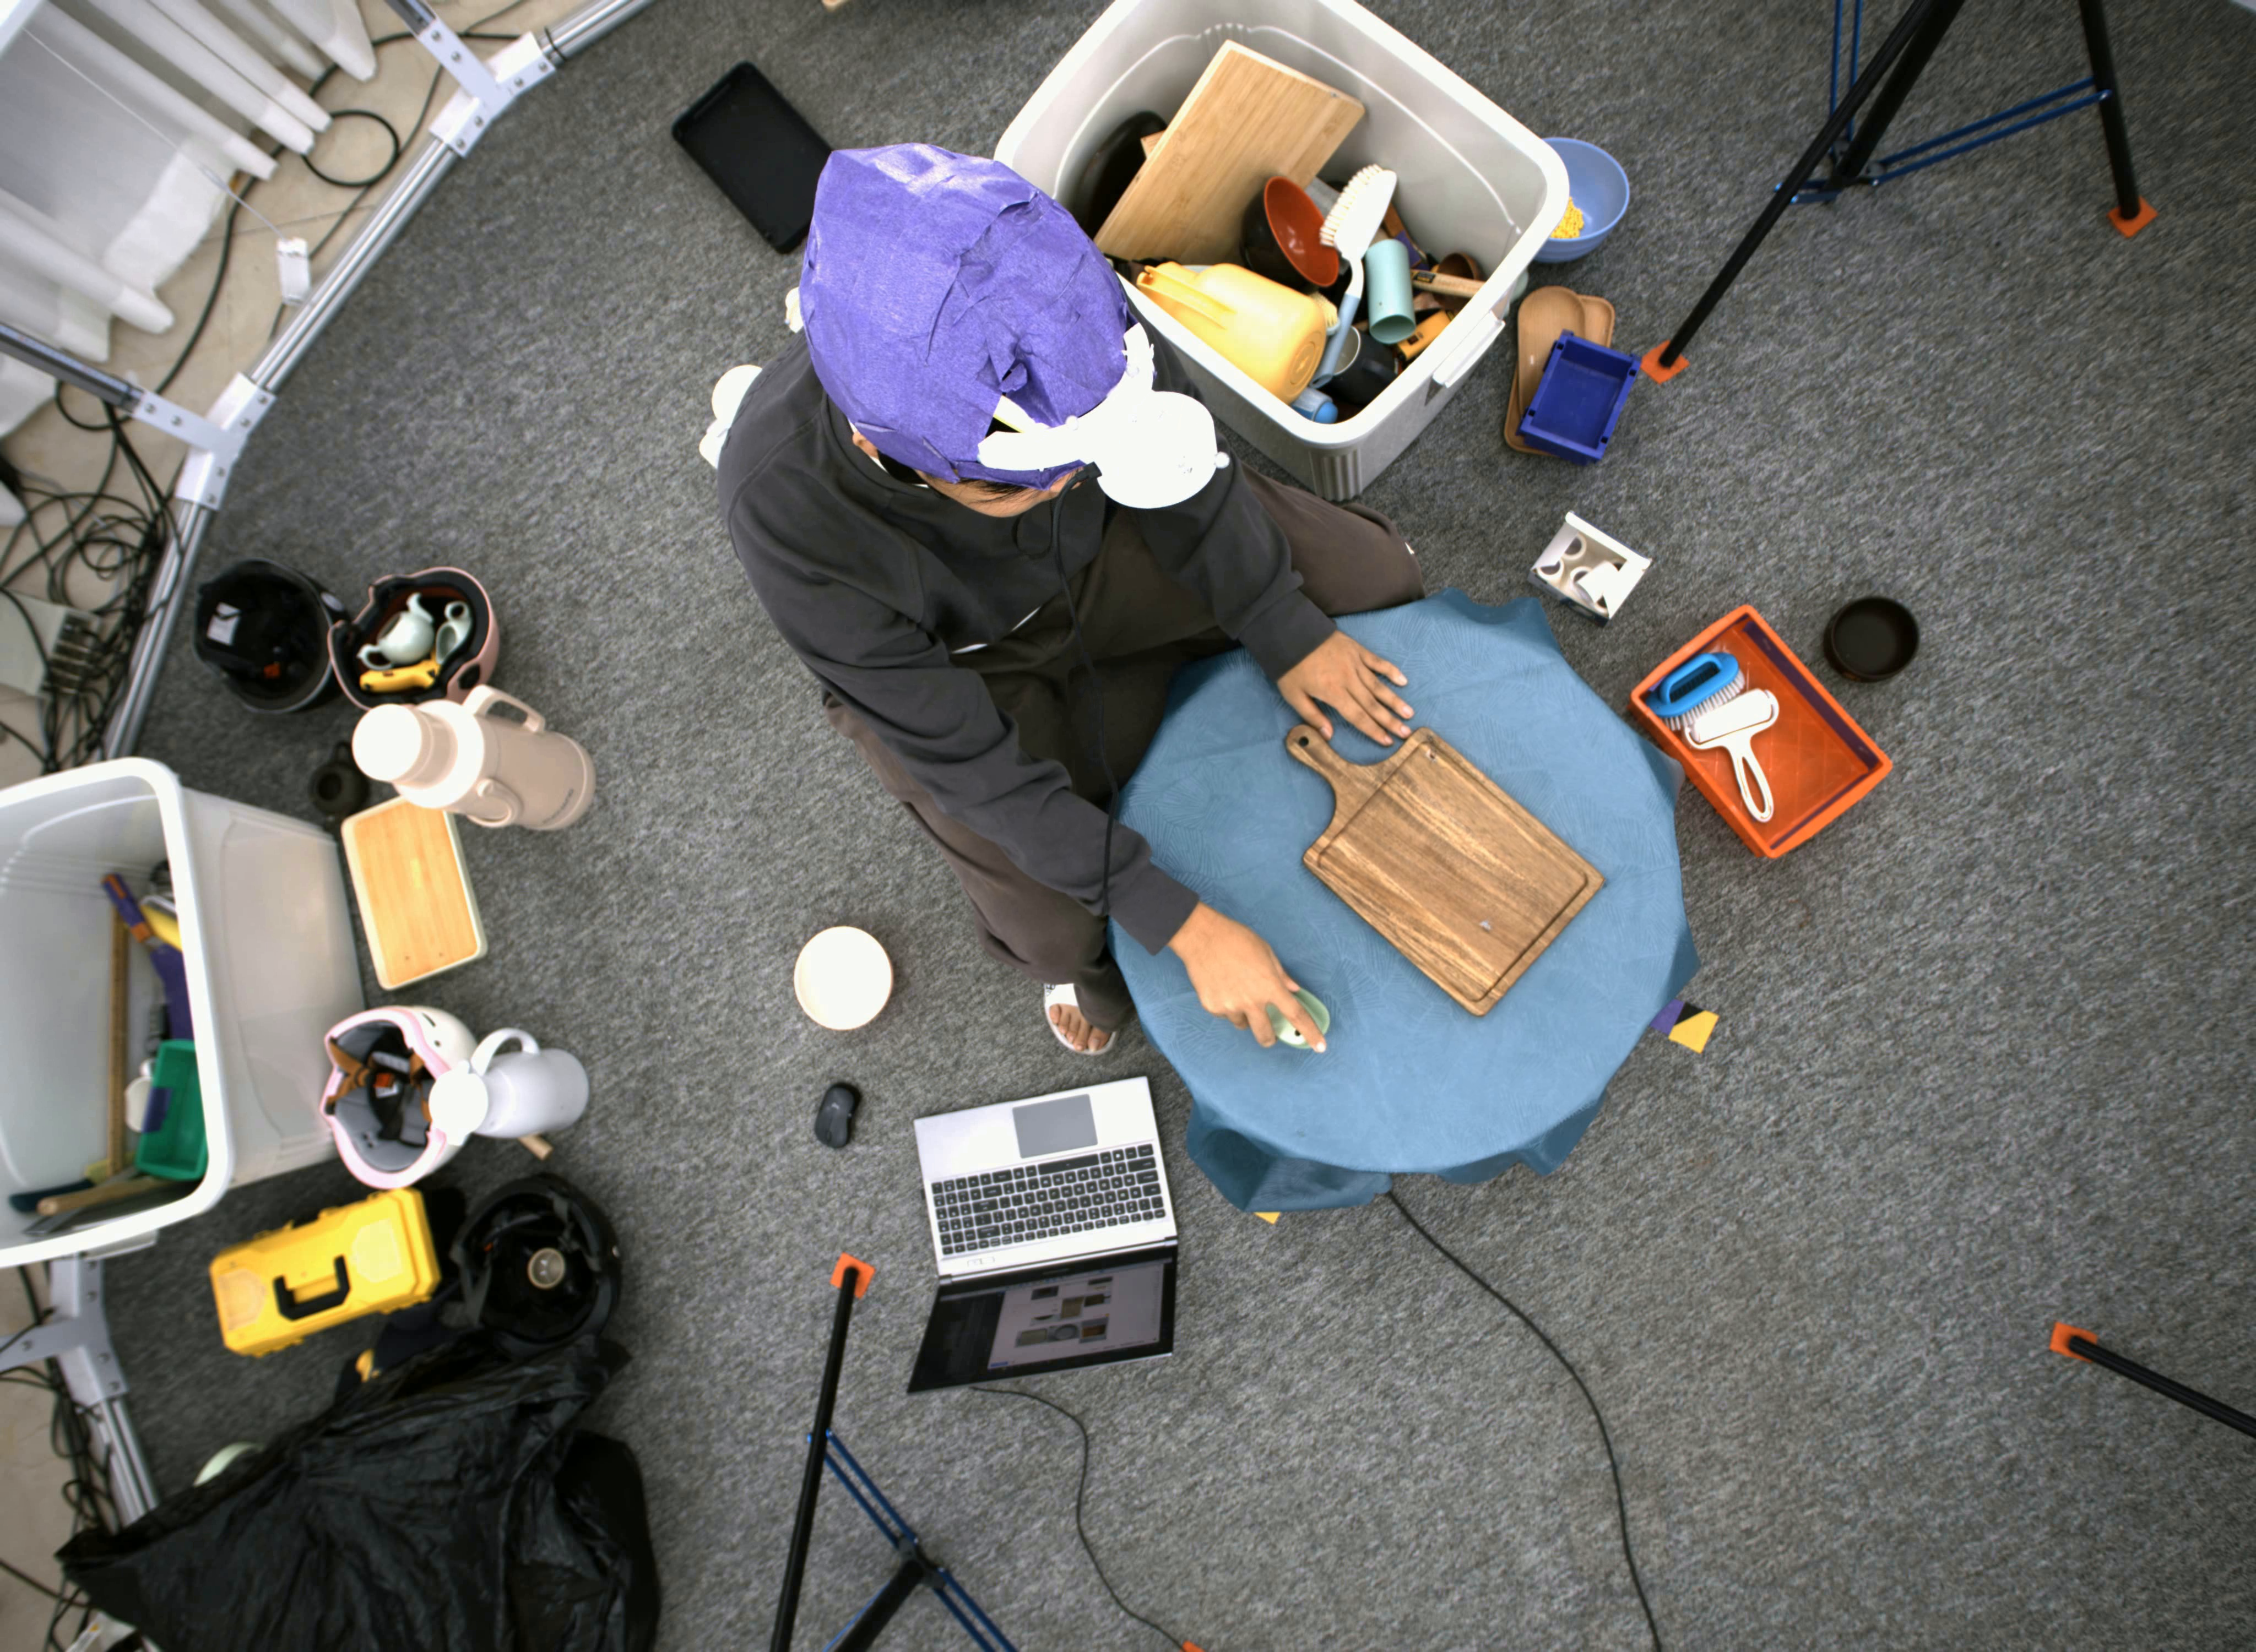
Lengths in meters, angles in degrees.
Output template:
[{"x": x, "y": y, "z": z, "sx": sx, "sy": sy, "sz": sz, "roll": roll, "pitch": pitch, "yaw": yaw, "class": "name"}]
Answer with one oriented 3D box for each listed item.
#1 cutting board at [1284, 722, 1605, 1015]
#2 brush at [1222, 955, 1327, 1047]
[{"x": 0.302, "y": 0.009, "z": 1.448, "sx": 0.350, "sy": 0.023, "sz": 0.202, "roll": 43, "pitch": 95, "yaw": 11, "class": "cutting board"}, {"x": 0.153, "y": 0.182, "z": 1.439, "sx": 0.122, "sy": 0.076, "sz": 0.060, "roll": 36, "pitch": 94, "yaw": 29, "class": "brush"}]
